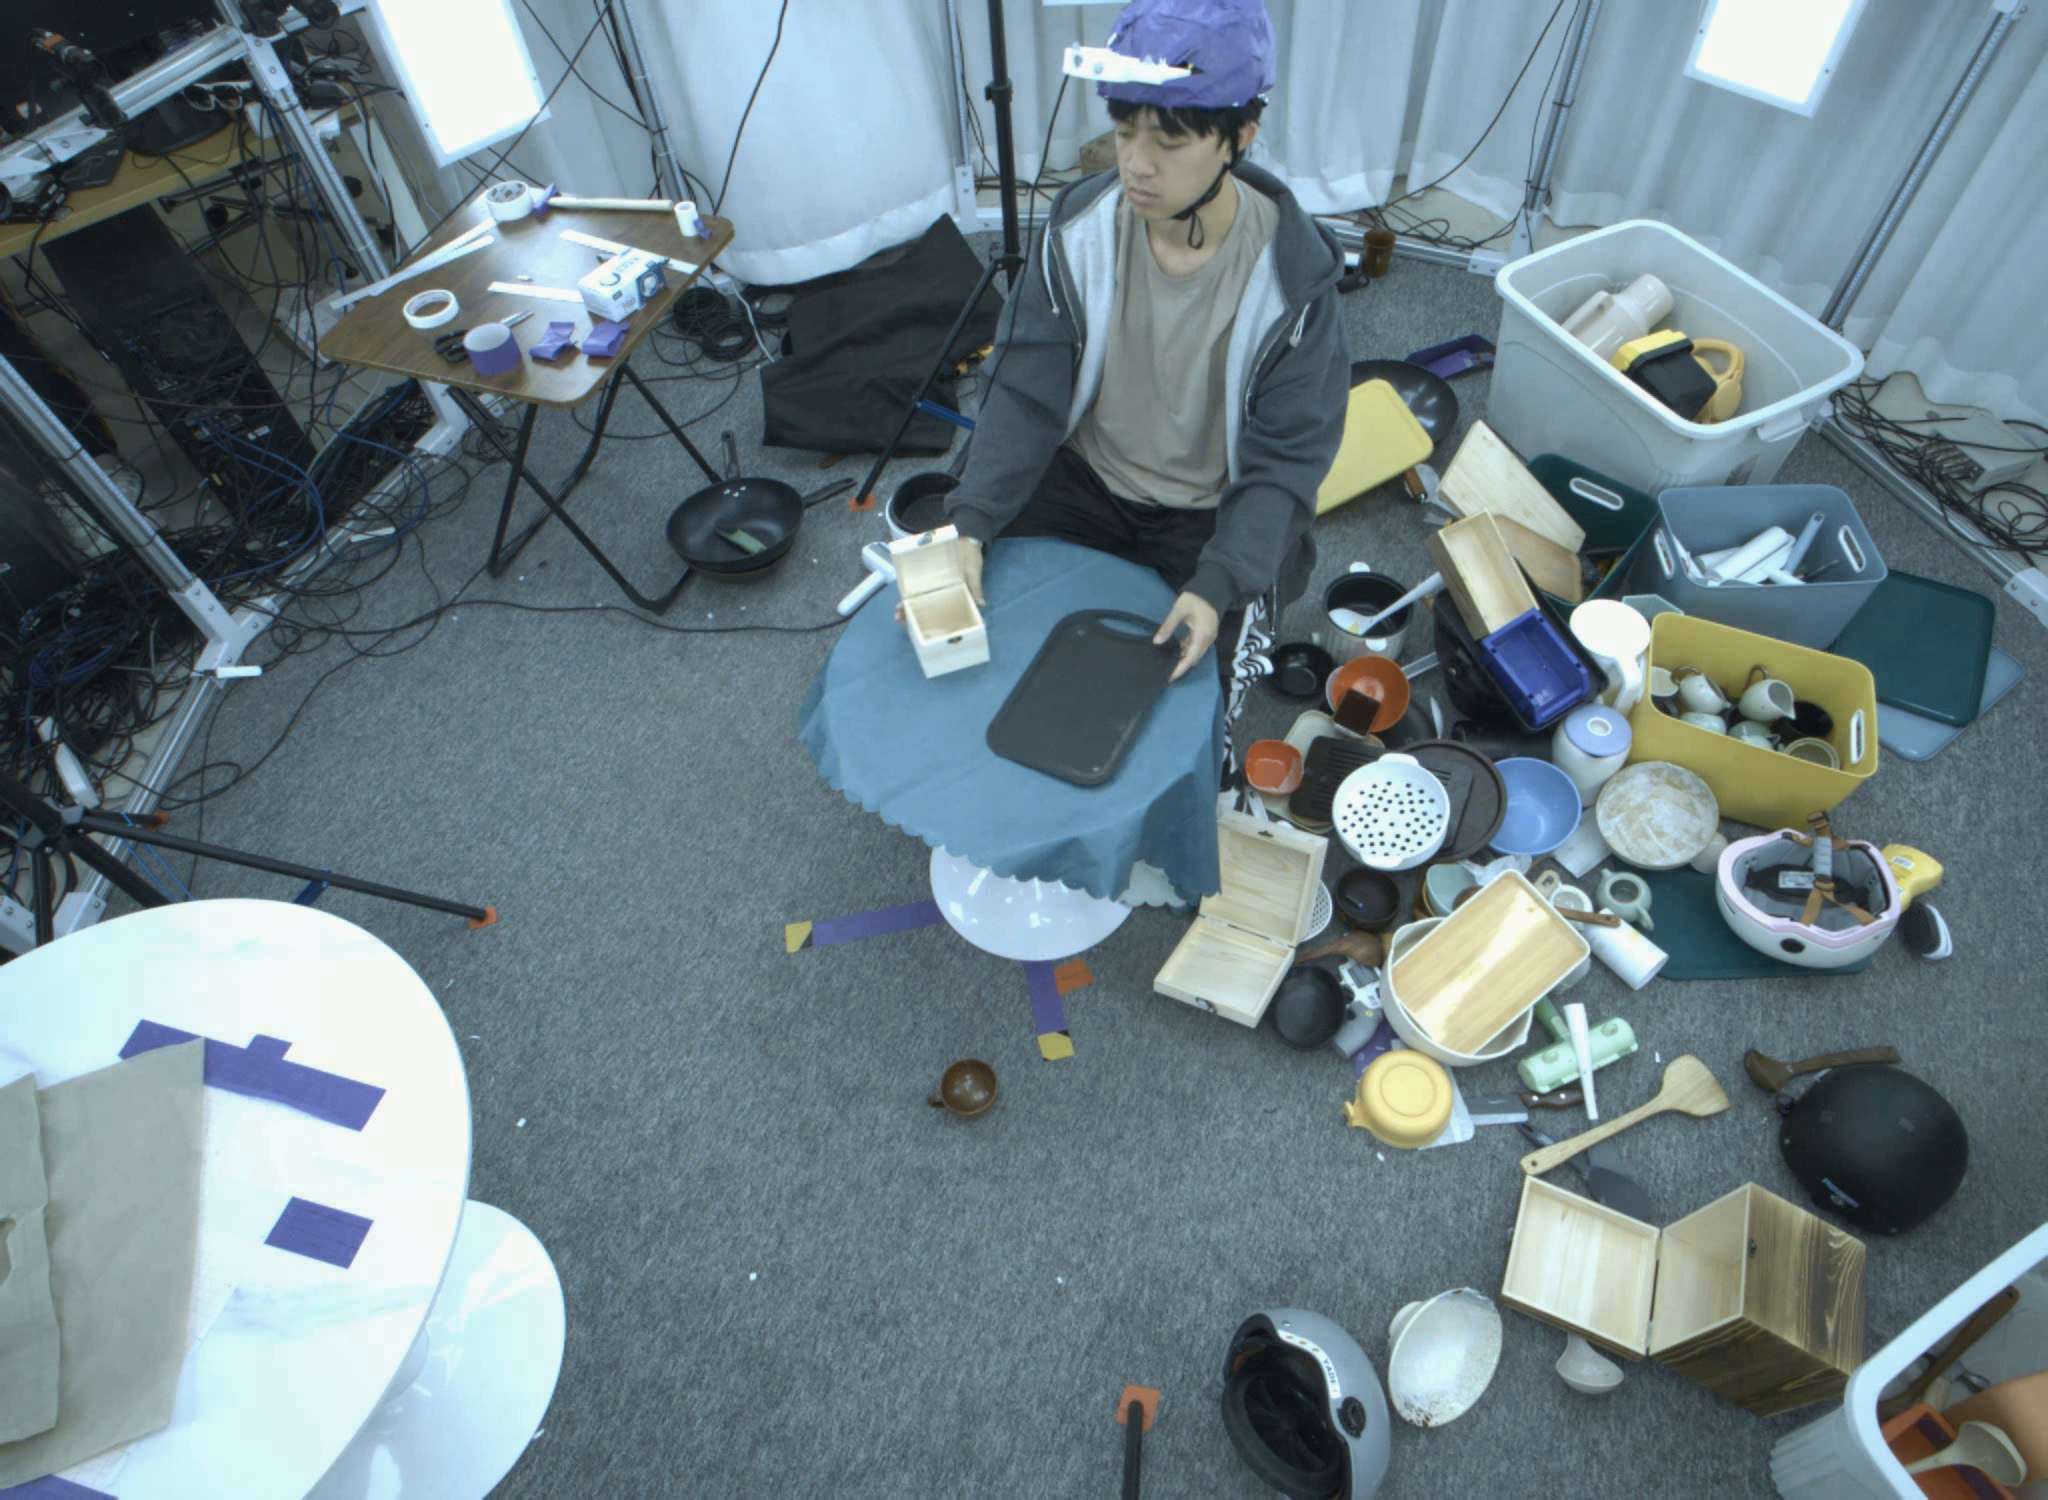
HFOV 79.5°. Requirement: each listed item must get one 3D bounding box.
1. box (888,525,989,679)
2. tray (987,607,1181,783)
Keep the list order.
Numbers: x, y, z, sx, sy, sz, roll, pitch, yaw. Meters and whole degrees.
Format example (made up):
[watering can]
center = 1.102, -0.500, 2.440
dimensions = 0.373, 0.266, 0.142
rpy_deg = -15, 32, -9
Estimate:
[box]
center = -0.127, -0.221, 1.838
dimensions = 0.103, 0.186, 0.131
rpy_deg = -19, 54, -9
[tray]
center = 0.095, -0.095, 1.842
dimensions = 0.208, 0.010, 0.326
rpy_deg = 21, 59, 20
